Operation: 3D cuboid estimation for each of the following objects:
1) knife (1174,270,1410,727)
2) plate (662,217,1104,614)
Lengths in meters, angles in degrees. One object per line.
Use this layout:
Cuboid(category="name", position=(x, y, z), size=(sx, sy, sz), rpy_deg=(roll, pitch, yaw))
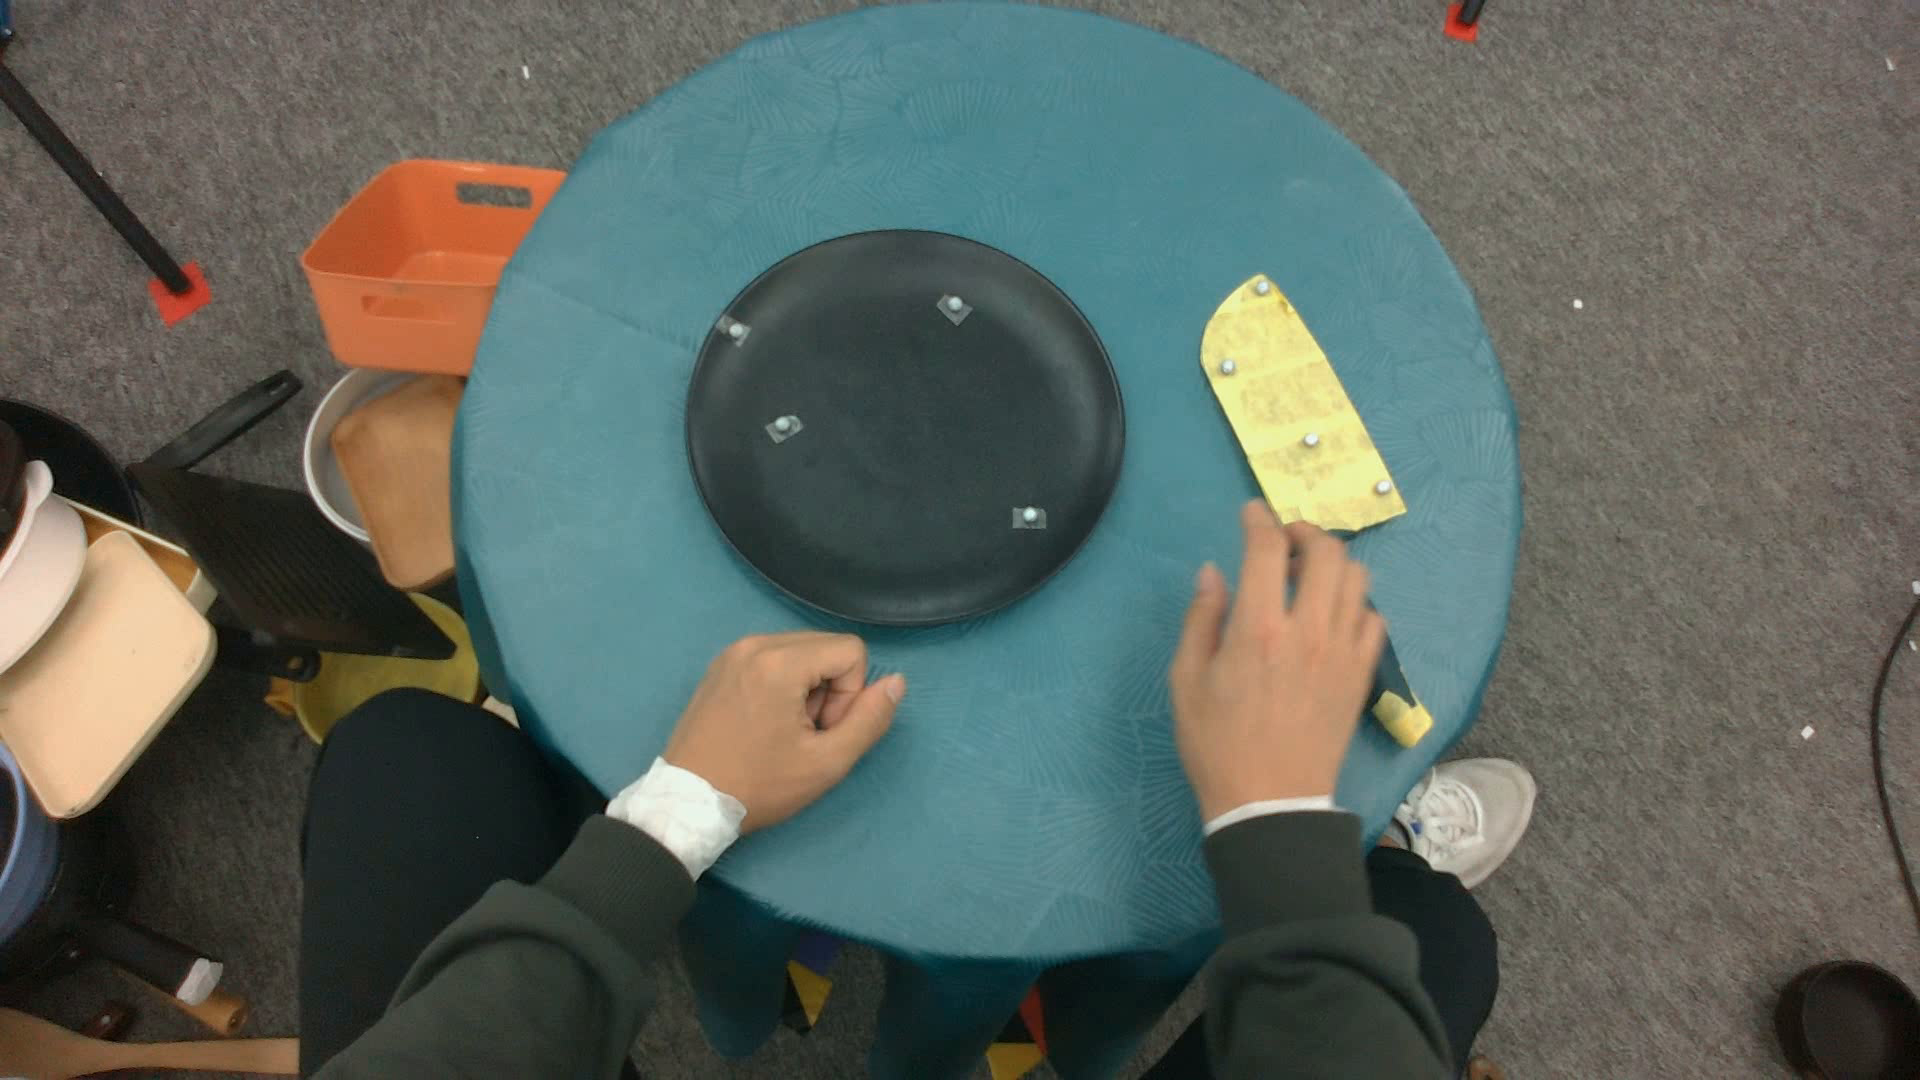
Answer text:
Cuboid(category="knife", position=(0.194, -0.034, 0.777), size=(0.081, 0.027, 0.290), rpy_deg=(-15, 69, -9))
Cuboid(category="plate", position=(-0.041, -0.072, 0.764), size=(0.244, 0.023, 0.245), rpy_deg=(2, 68, -5))
